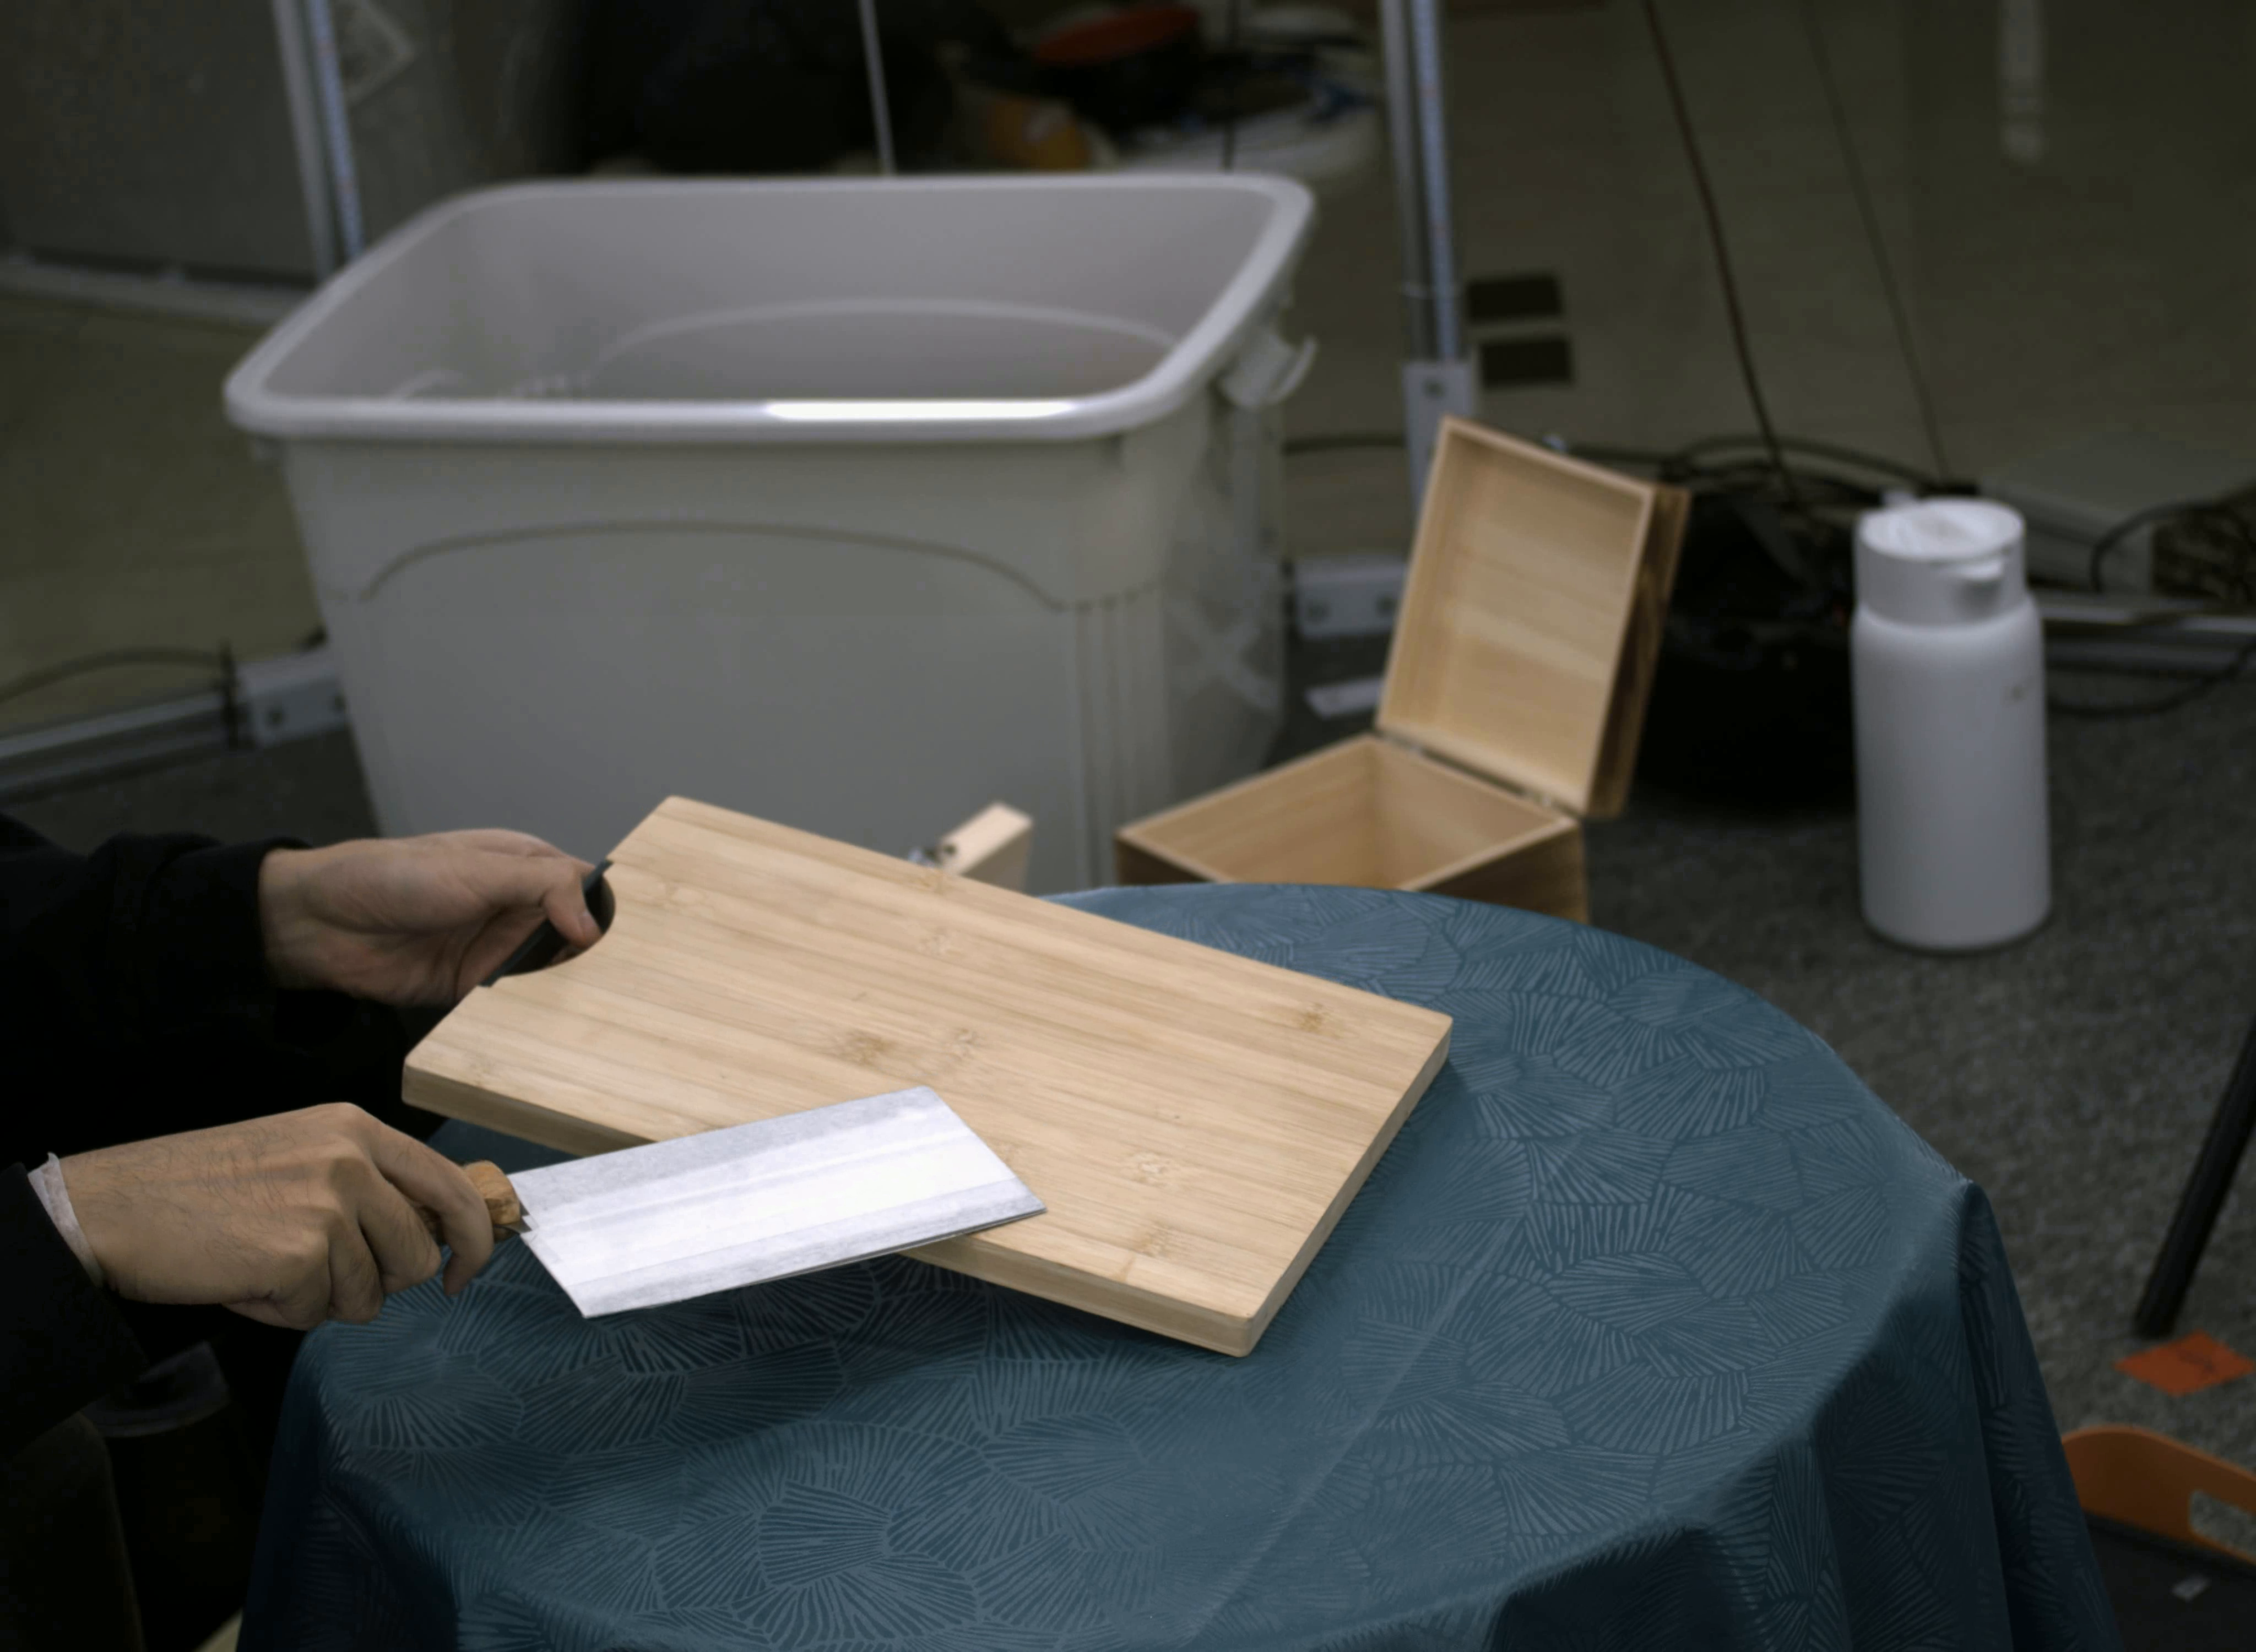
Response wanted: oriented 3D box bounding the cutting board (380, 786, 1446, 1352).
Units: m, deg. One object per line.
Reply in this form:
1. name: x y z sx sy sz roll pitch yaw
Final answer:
1. cutting board: -0.078 0.087 2.165 0.347 0.024 0.247 15 30 14

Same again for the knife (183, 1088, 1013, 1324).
1. knife: -0.180 0.143 2.017 0.304 0.021 0.091 -11 36 -31
